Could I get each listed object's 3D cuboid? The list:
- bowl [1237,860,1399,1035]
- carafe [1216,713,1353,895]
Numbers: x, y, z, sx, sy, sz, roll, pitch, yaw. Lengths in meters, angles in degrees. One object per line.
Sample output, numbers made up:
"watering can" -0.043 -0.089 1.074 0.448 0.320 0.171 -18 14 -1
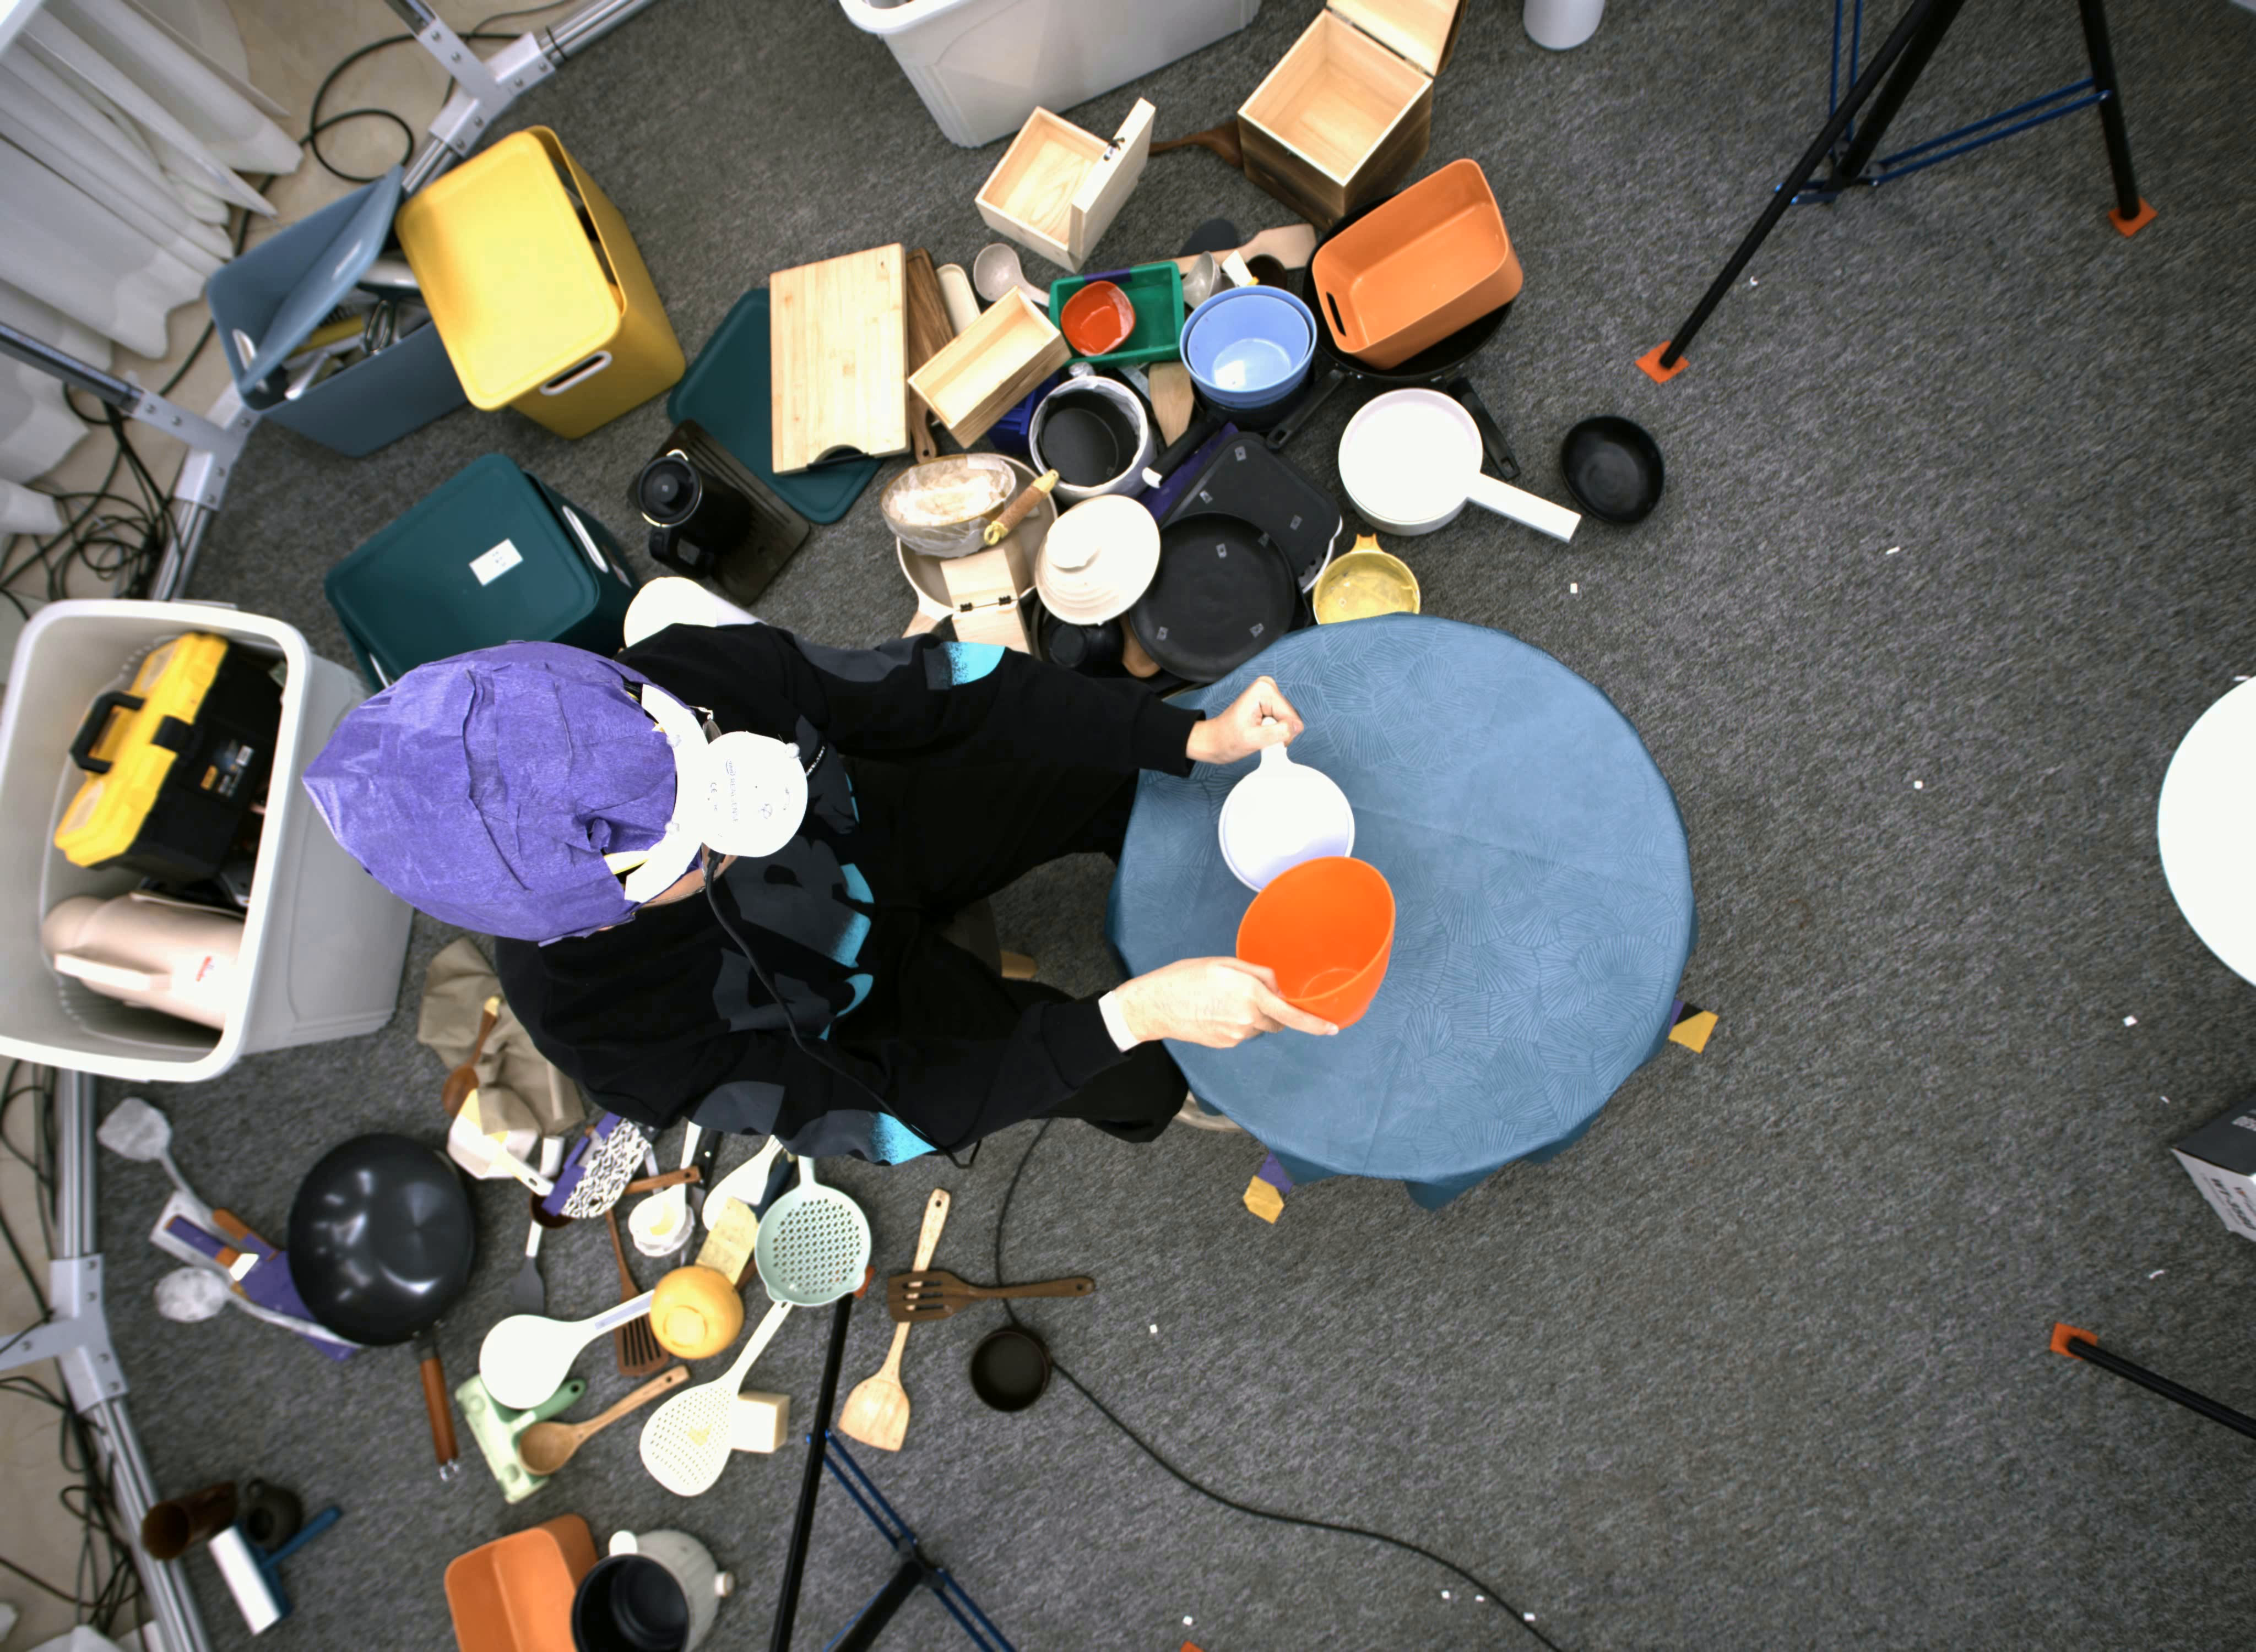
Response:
"bowl" 0.177 0.117 1.220 0.149 0.106 0.144 -17 40 14
"carafe" 0.150 -0.020 1.371 0.133 0.182 0.191 -11 89 6
